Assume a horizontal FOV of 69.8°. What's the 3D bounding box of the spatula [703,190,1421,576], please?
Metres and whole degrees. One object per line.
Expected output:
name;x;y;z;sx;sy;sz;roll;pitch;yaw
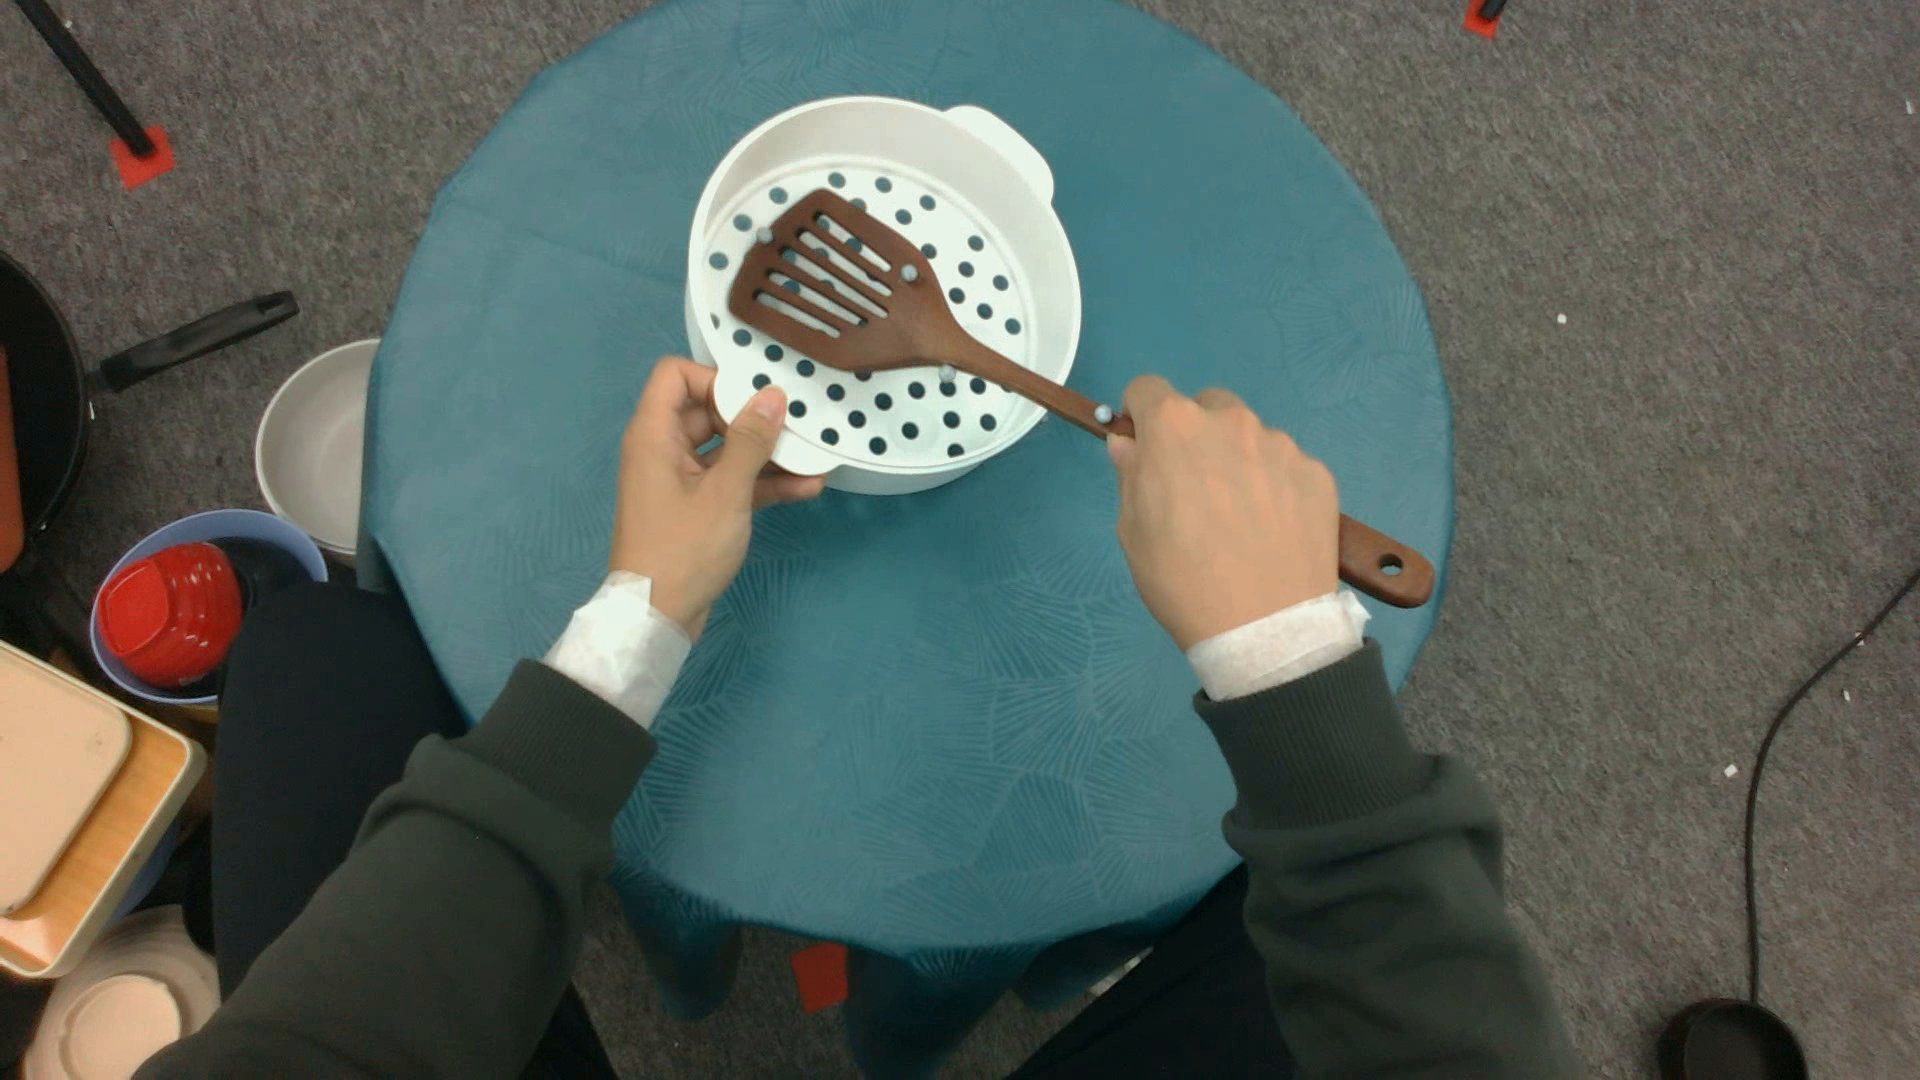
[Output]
spatula;0.032;-0.073;0.630;0.385;0.023;0.086;28;76;31

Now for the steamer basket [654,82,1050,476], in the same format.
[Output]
steamer basket;-0.057;-0.132;0.716;0.202;0.069;0.231;36;70;-5
